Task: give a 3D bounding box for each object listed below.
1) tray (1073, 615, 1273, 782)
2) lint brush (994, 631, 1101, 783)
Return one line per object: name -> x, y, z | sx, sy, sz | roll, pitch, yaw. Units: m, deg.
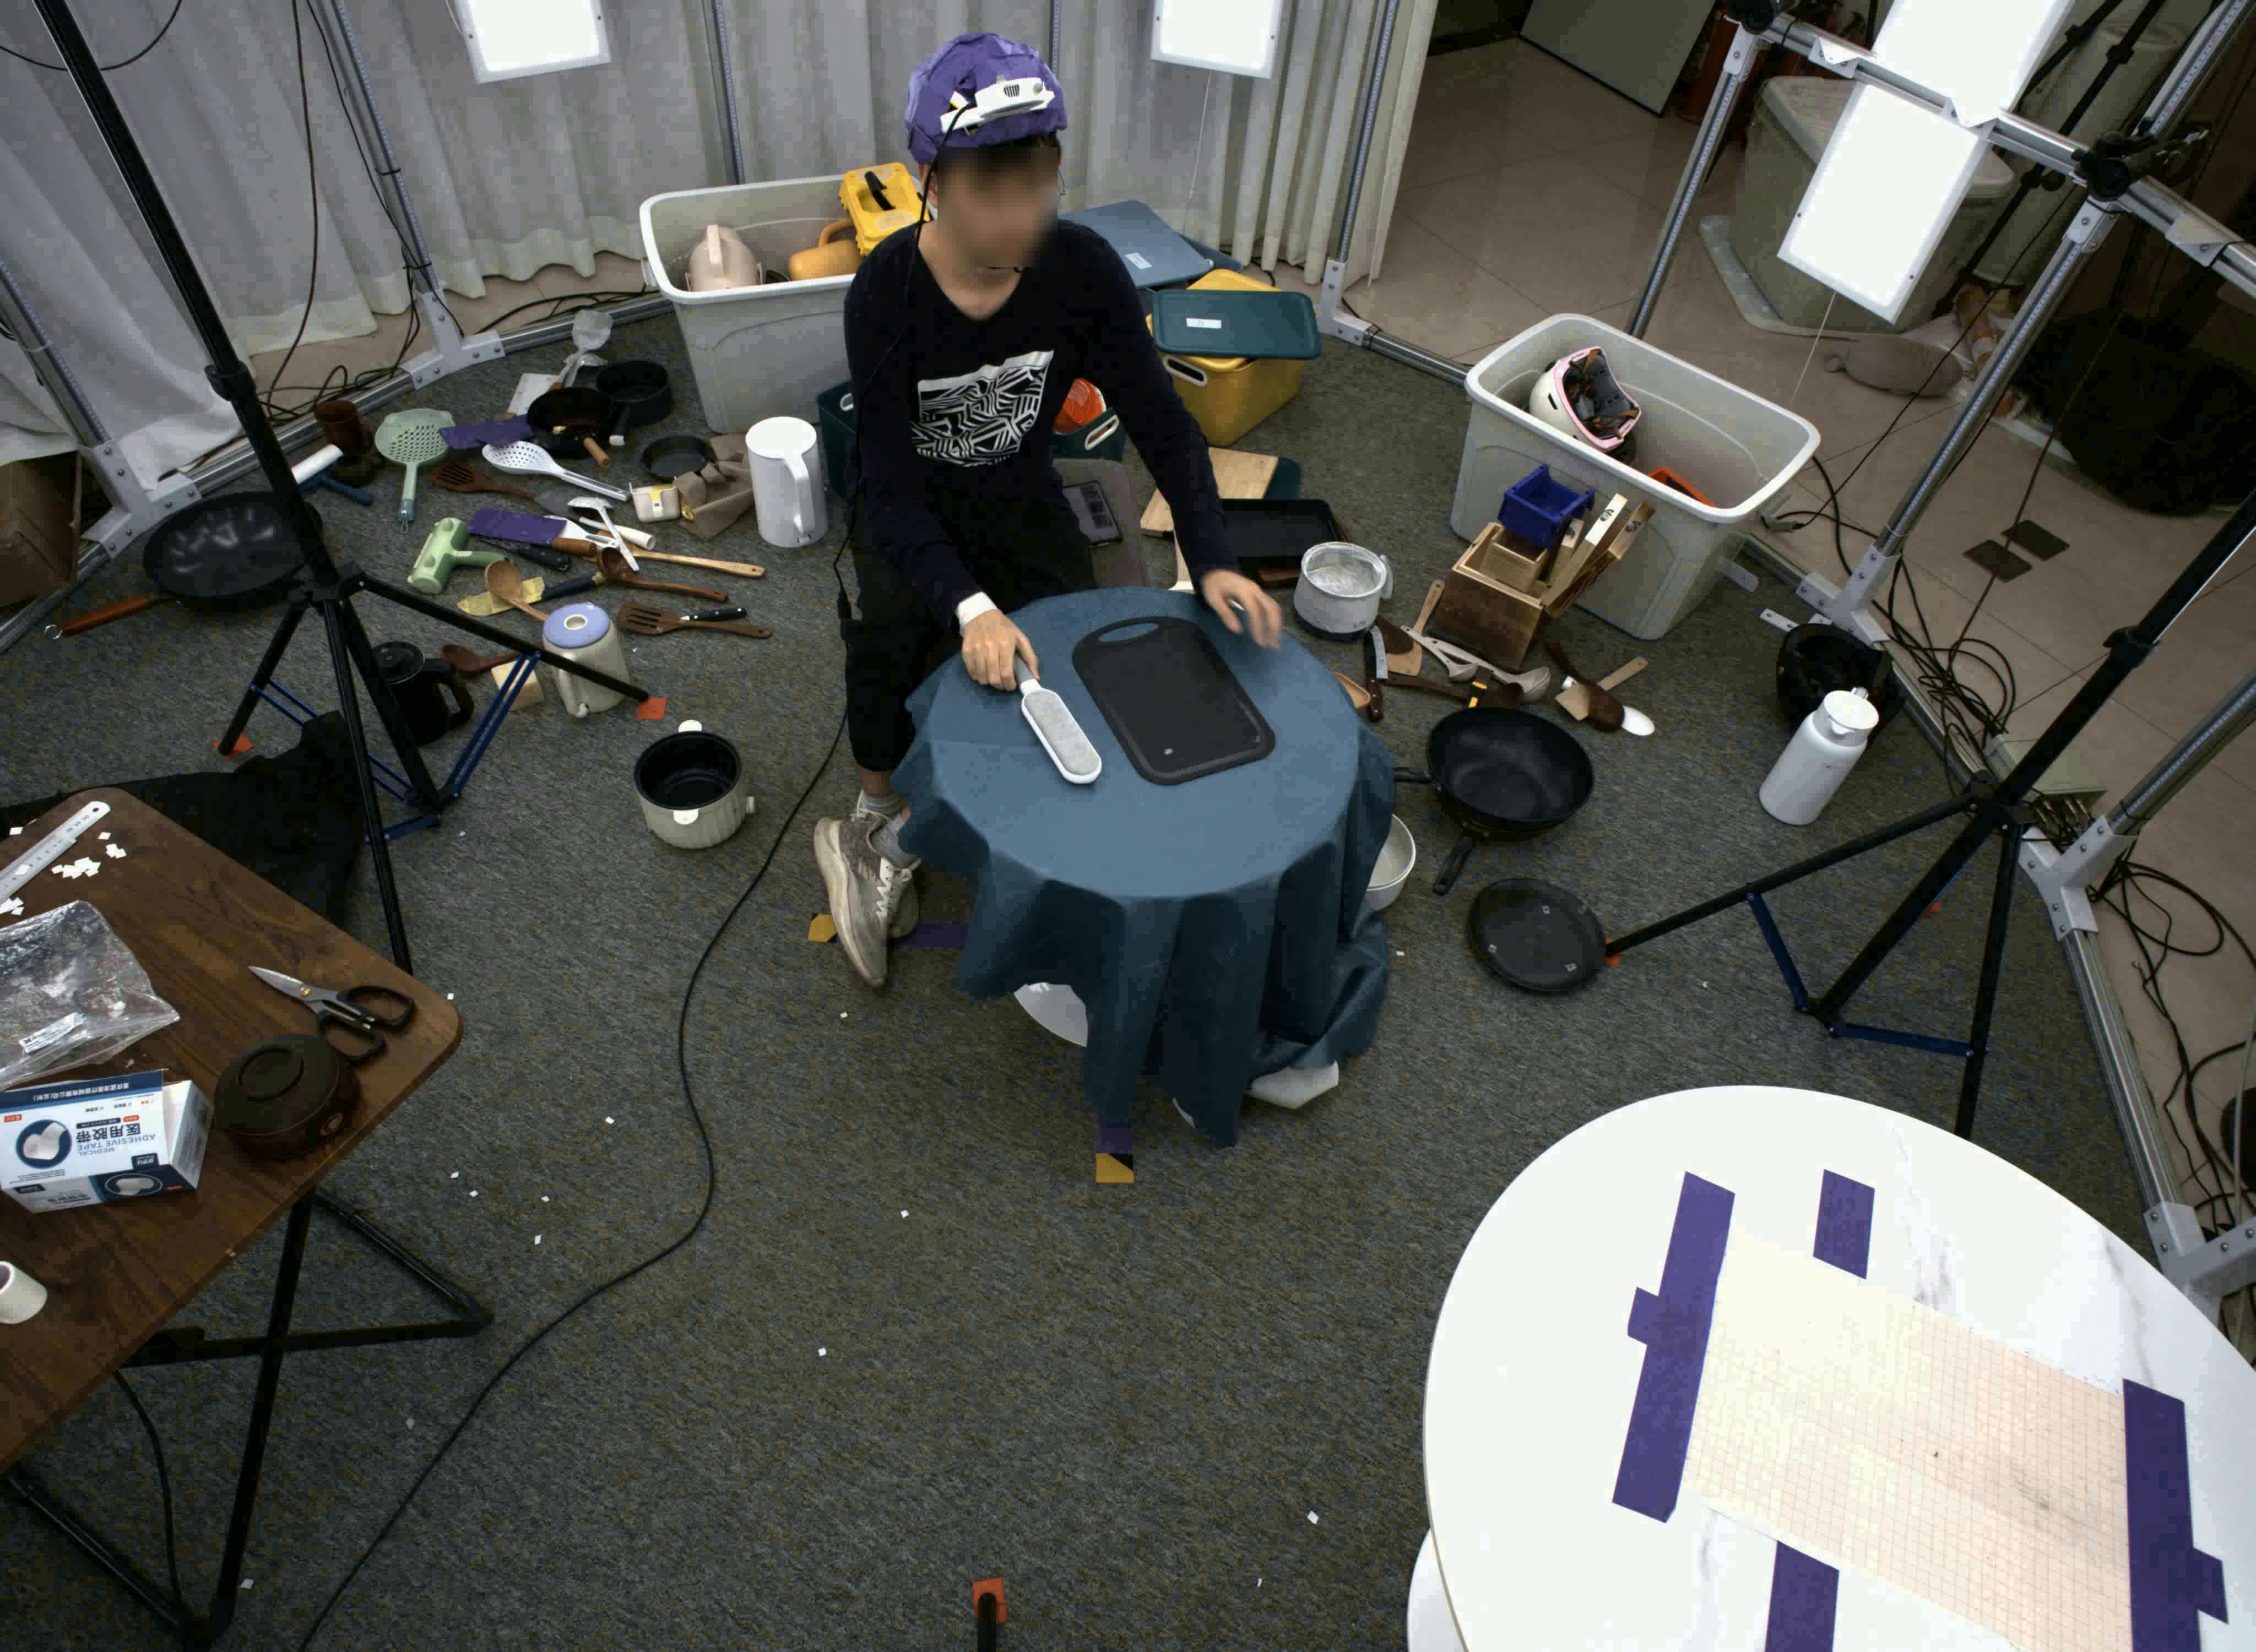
tray -> 0.056, -0.194, 1.835 | 0.211, 0.009, 0.333 | -16, 52, -17
lint brush -> -0.119, -0.172, 1.791 | 0.060, 0.020, 0.316 | -21, 54, -15
